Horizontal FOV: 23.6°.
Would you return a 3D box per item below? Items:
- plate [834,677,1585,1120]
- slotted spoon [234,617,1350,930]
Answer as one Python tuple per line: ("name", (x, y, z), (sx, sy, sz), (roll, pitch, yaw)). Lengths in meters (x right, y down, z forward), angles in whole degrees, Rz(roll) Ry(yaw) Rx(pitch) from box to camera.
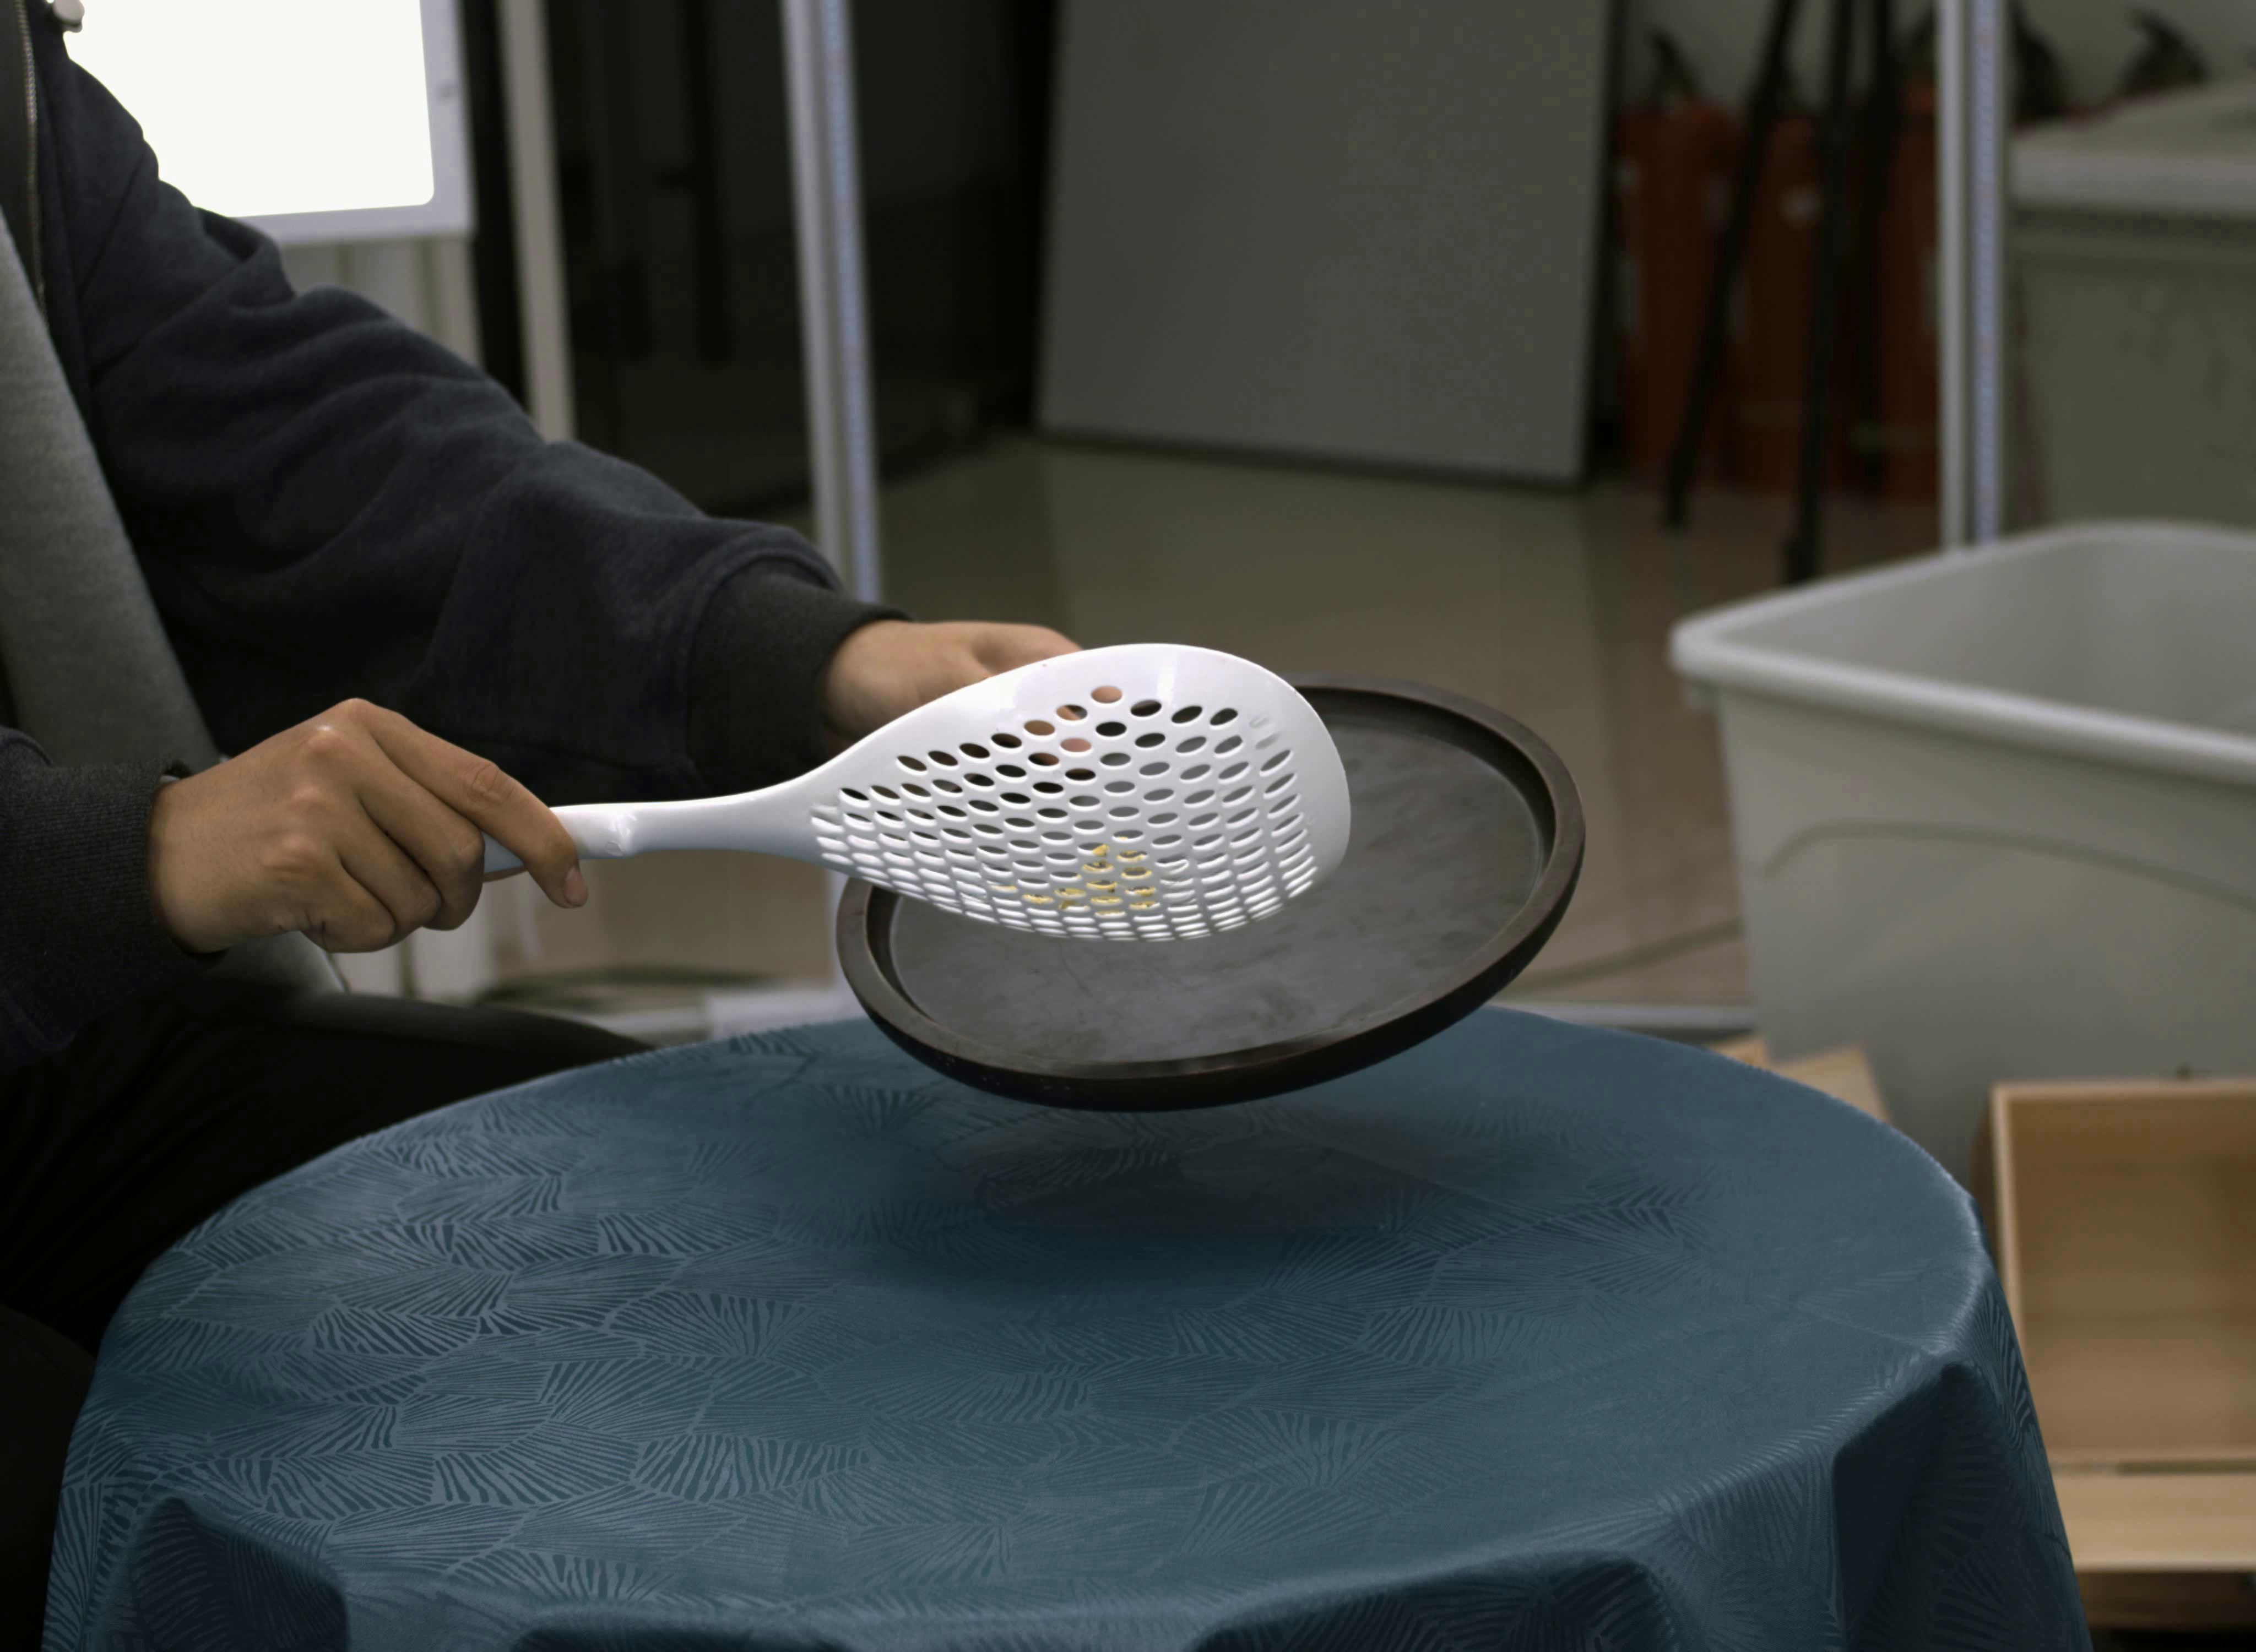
("plate", (0.027, 0.021, 1.778), (0.252, 0.029, 0.256), (-11, 30, 5))
("slotted spoon", (-0.104, 0.001, 1.666), (0.345, 0.137, 0.050), (-1, 50, 11))
